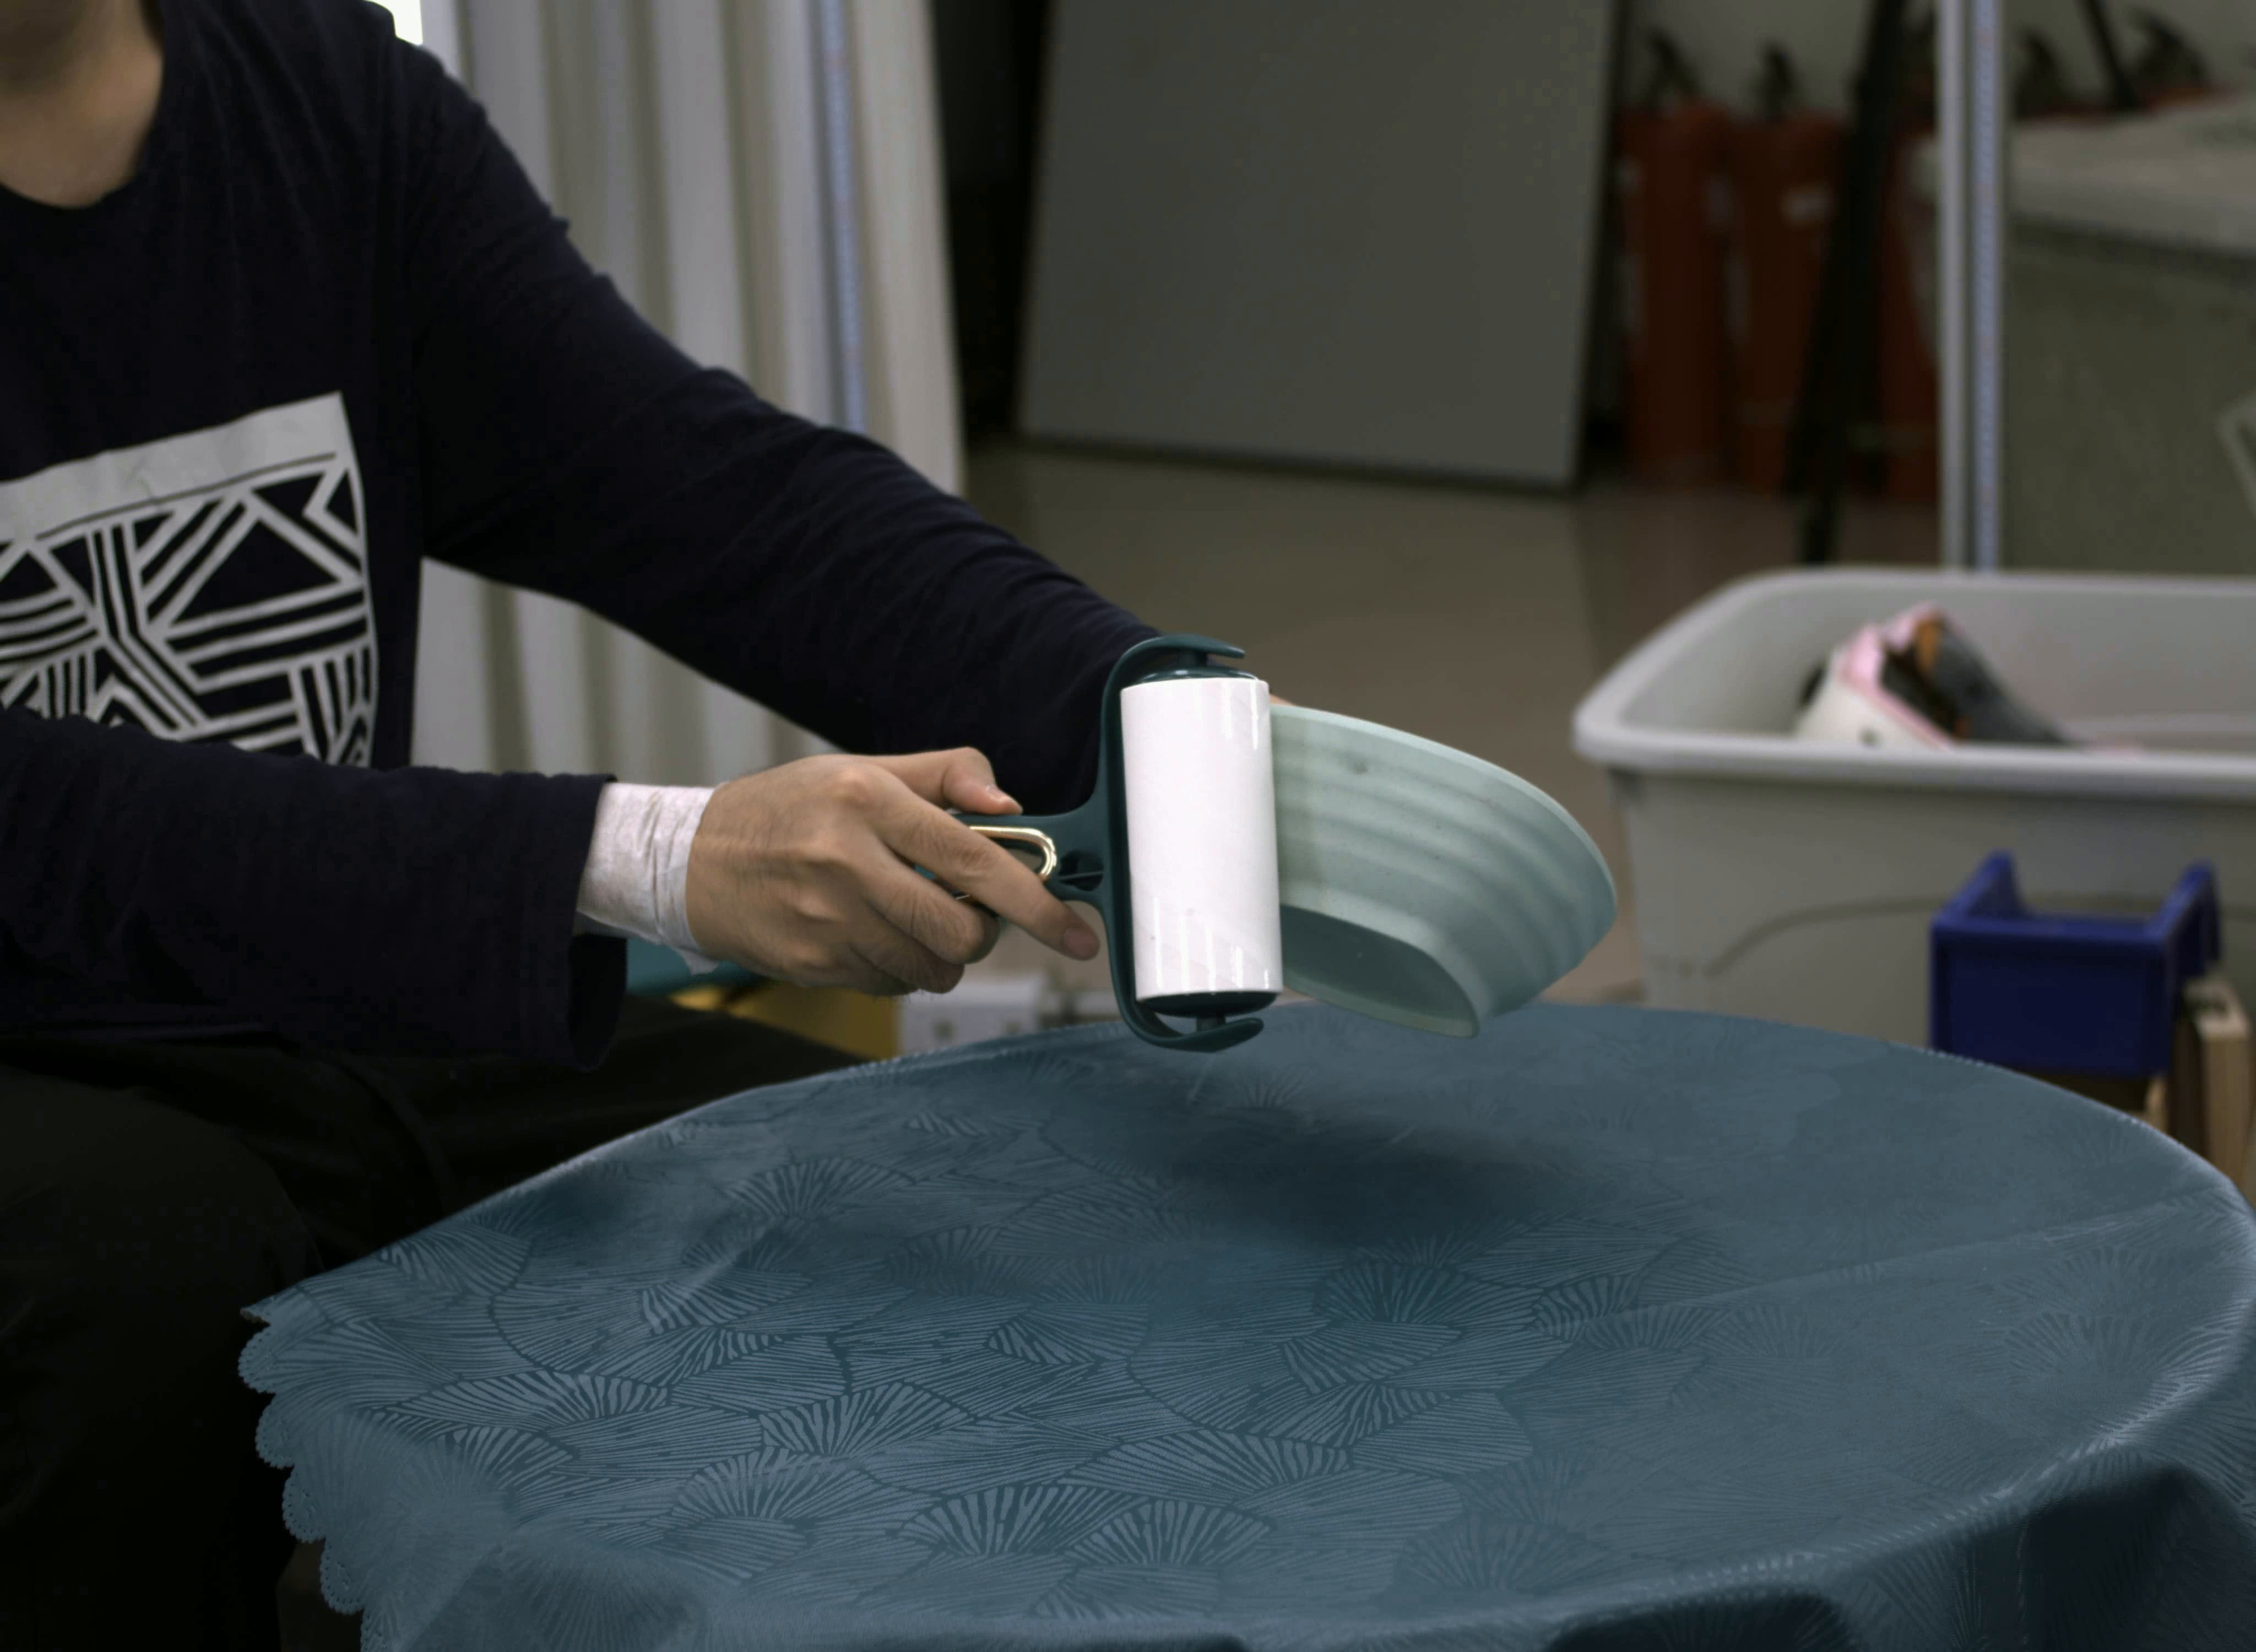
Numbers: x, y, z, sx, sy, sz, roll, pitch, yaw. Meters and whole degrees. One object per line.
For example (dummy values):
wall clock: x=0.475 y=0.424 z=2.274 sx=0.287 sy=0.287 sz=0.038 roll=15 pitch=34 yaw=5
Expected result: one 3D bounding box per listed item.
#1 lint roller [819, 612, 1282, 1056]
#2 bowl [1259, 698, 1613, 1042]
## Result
lint roller: x=-0.034 y=0.011 z=1.723 sx=0.181 sy=0.136 sz=0.047 roll=-7 pitch=-9 yaw=30
bowl: x=0.081 y=0.021 z=1.740 sx=0.151 sy=0.059 sz=0.151 roll=25 pitch=-17 yaw=7
